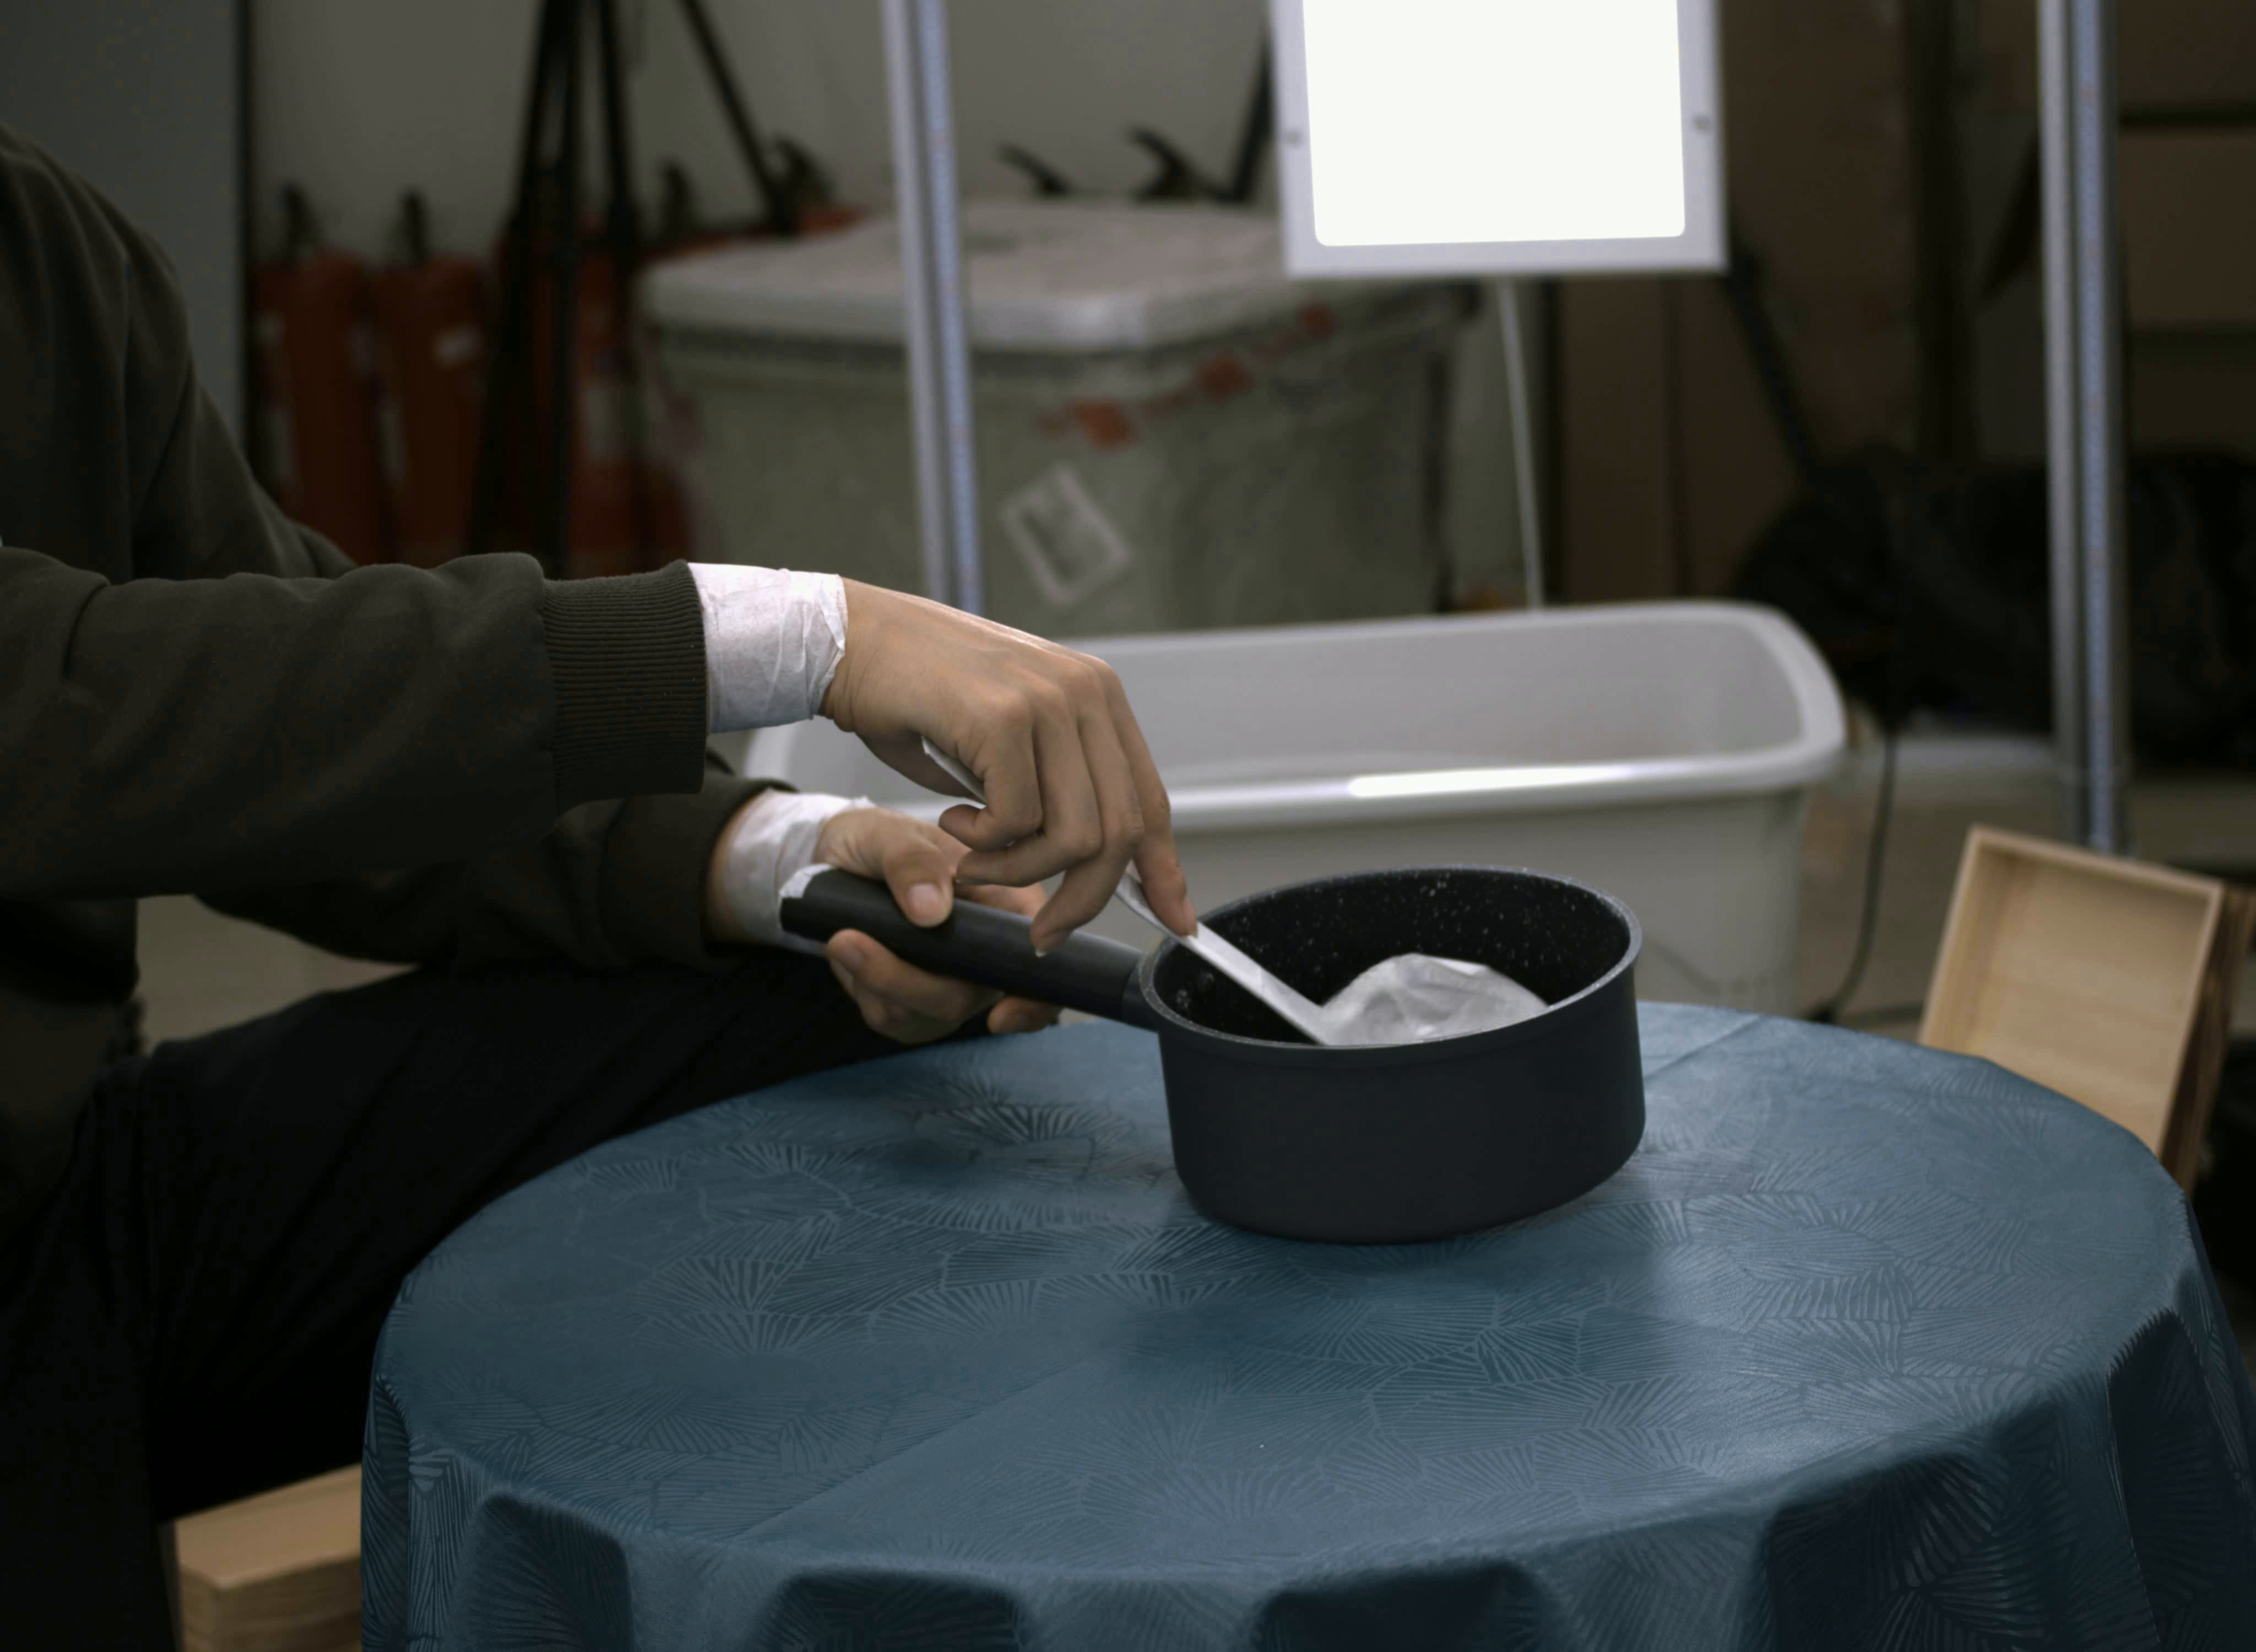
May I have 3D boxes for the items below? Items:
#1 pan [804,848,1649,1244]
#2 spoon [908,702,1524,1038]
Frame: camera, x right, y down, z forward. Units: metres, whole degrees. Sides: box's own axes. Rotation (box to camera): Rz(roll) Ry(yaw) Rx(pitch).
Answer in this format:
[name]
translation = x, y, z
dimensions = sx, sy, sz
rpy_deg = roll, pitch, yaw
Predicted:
[pan]
translation = 0.027, 0.068, 1.925
dimensions = 0.335, 0.087, 0.168
rpy_deg = 7, 23, 34
[spoon]
translation = 0.043, 0.022, 1.852
dimensions = 0.060, 0.273, 0.100
rpy_deg = -37, 30, 26
